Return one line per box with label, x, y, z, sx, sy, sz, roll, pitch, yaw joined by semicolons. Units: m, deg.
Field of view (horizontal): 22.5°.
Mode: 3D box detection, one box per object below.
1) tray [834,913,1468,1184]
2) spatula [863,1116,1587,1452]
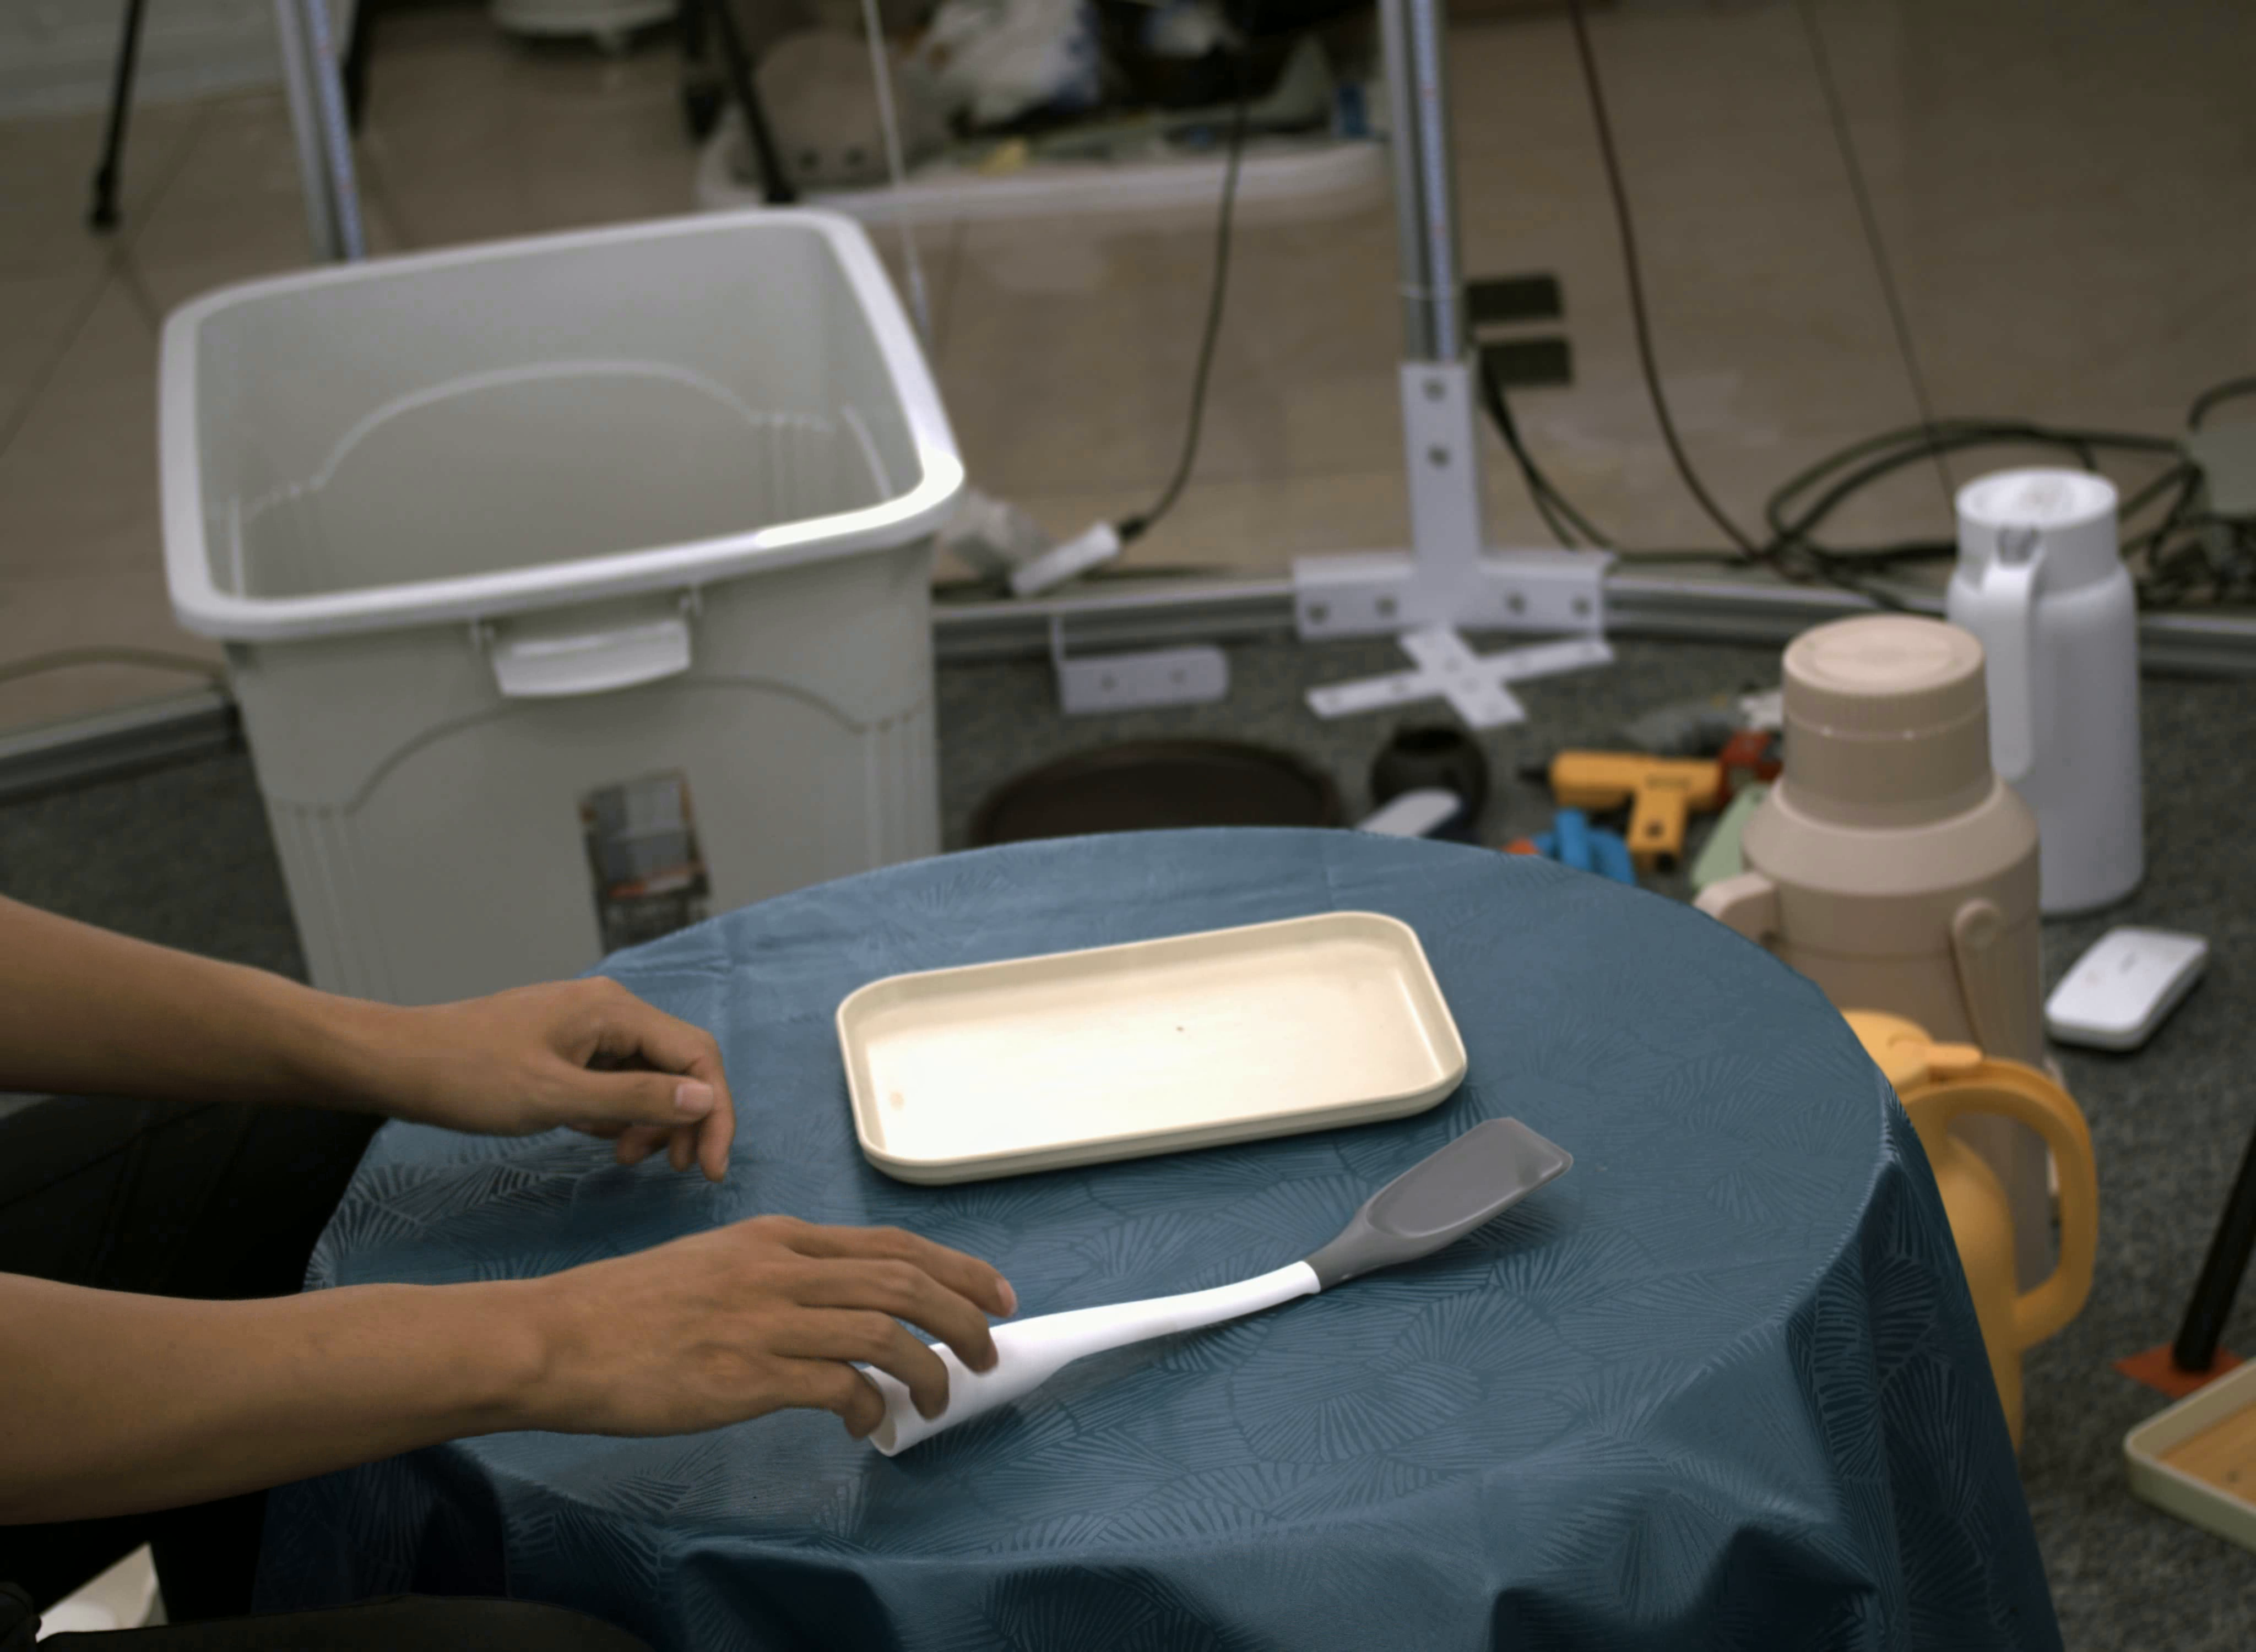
tray;0.007;0.088;2.240;0.239;0.018;0.169;-8;24;-4
spatula;0.036;0.164;2.048;0.286;0.032;0.058;-18;24;-25
